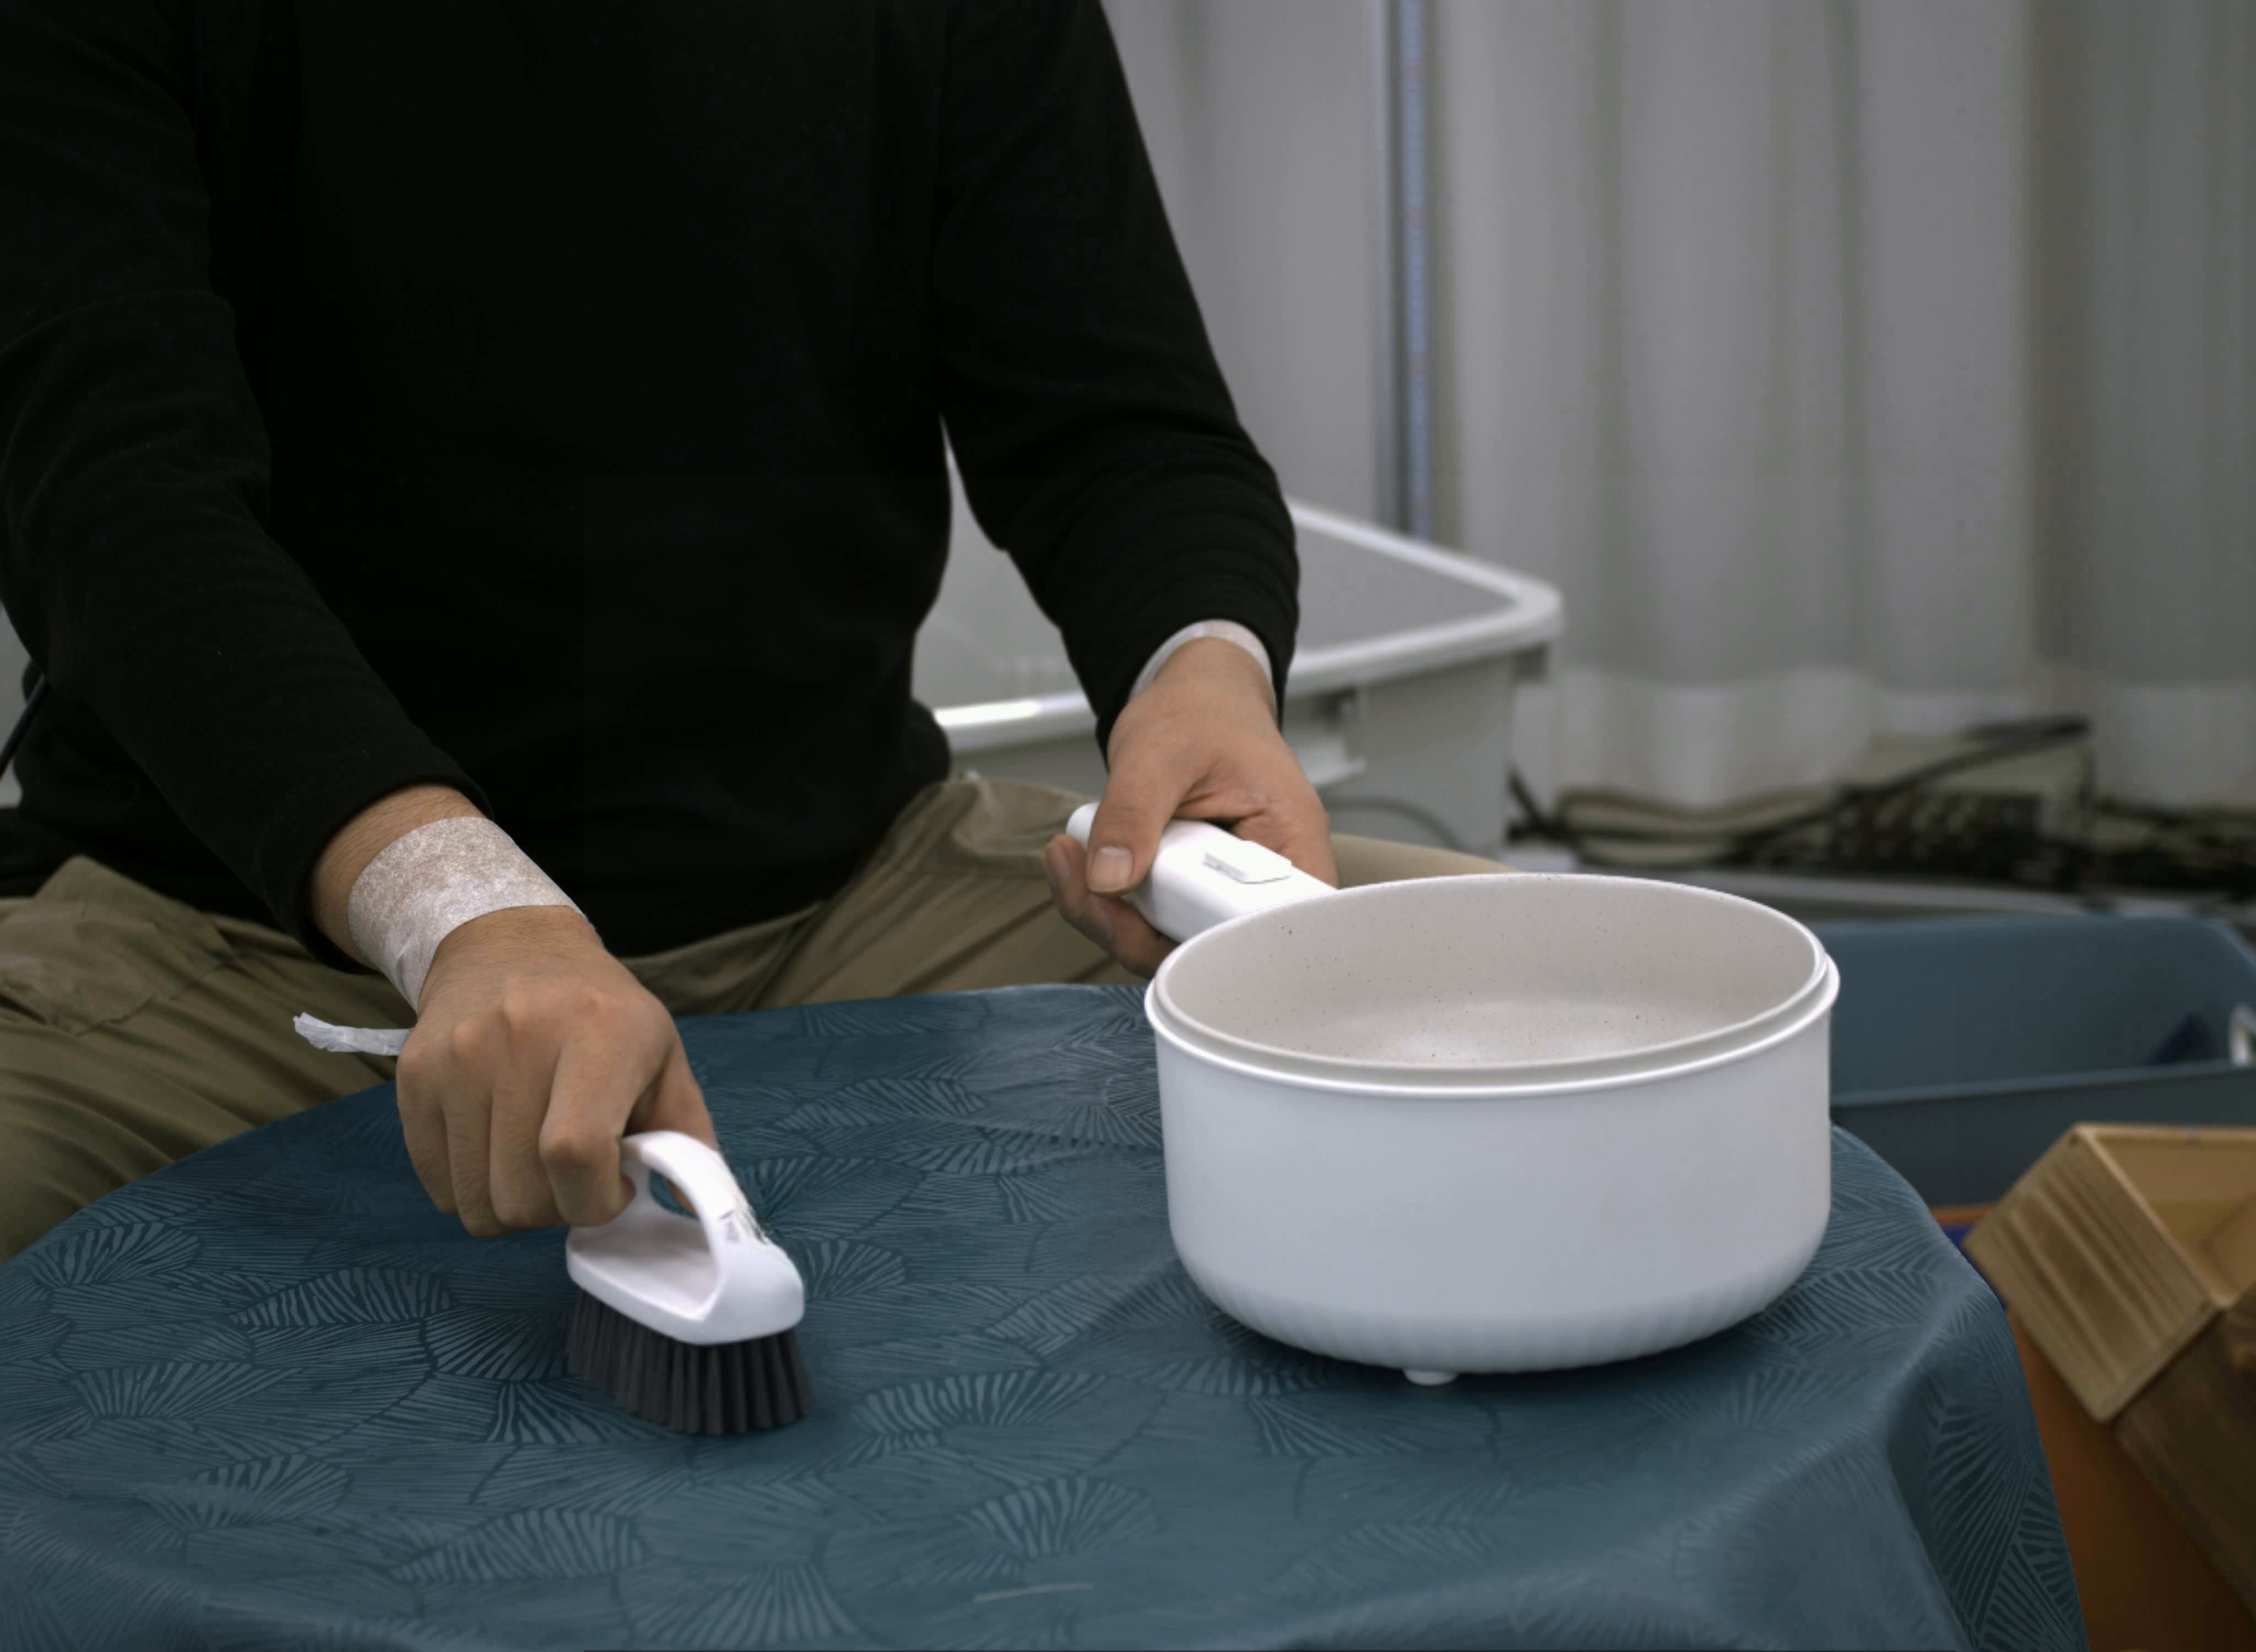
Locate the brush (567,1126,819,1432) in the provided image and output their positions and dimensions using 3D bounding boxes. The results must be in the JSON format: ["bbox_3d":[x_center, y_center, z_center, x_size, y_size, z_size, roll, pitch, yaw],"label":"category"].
[{"bbox_3d":[-0.127,0.124,1.560,0.050,0.072,0.100,-14,18,-27],"label":"brush"}]

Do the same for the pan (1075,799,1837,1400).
[{"bbox_3d":[0.075,0.076,1.664,0.200,0.101,0.357,-11,17,-23],"label":"pan"}]
